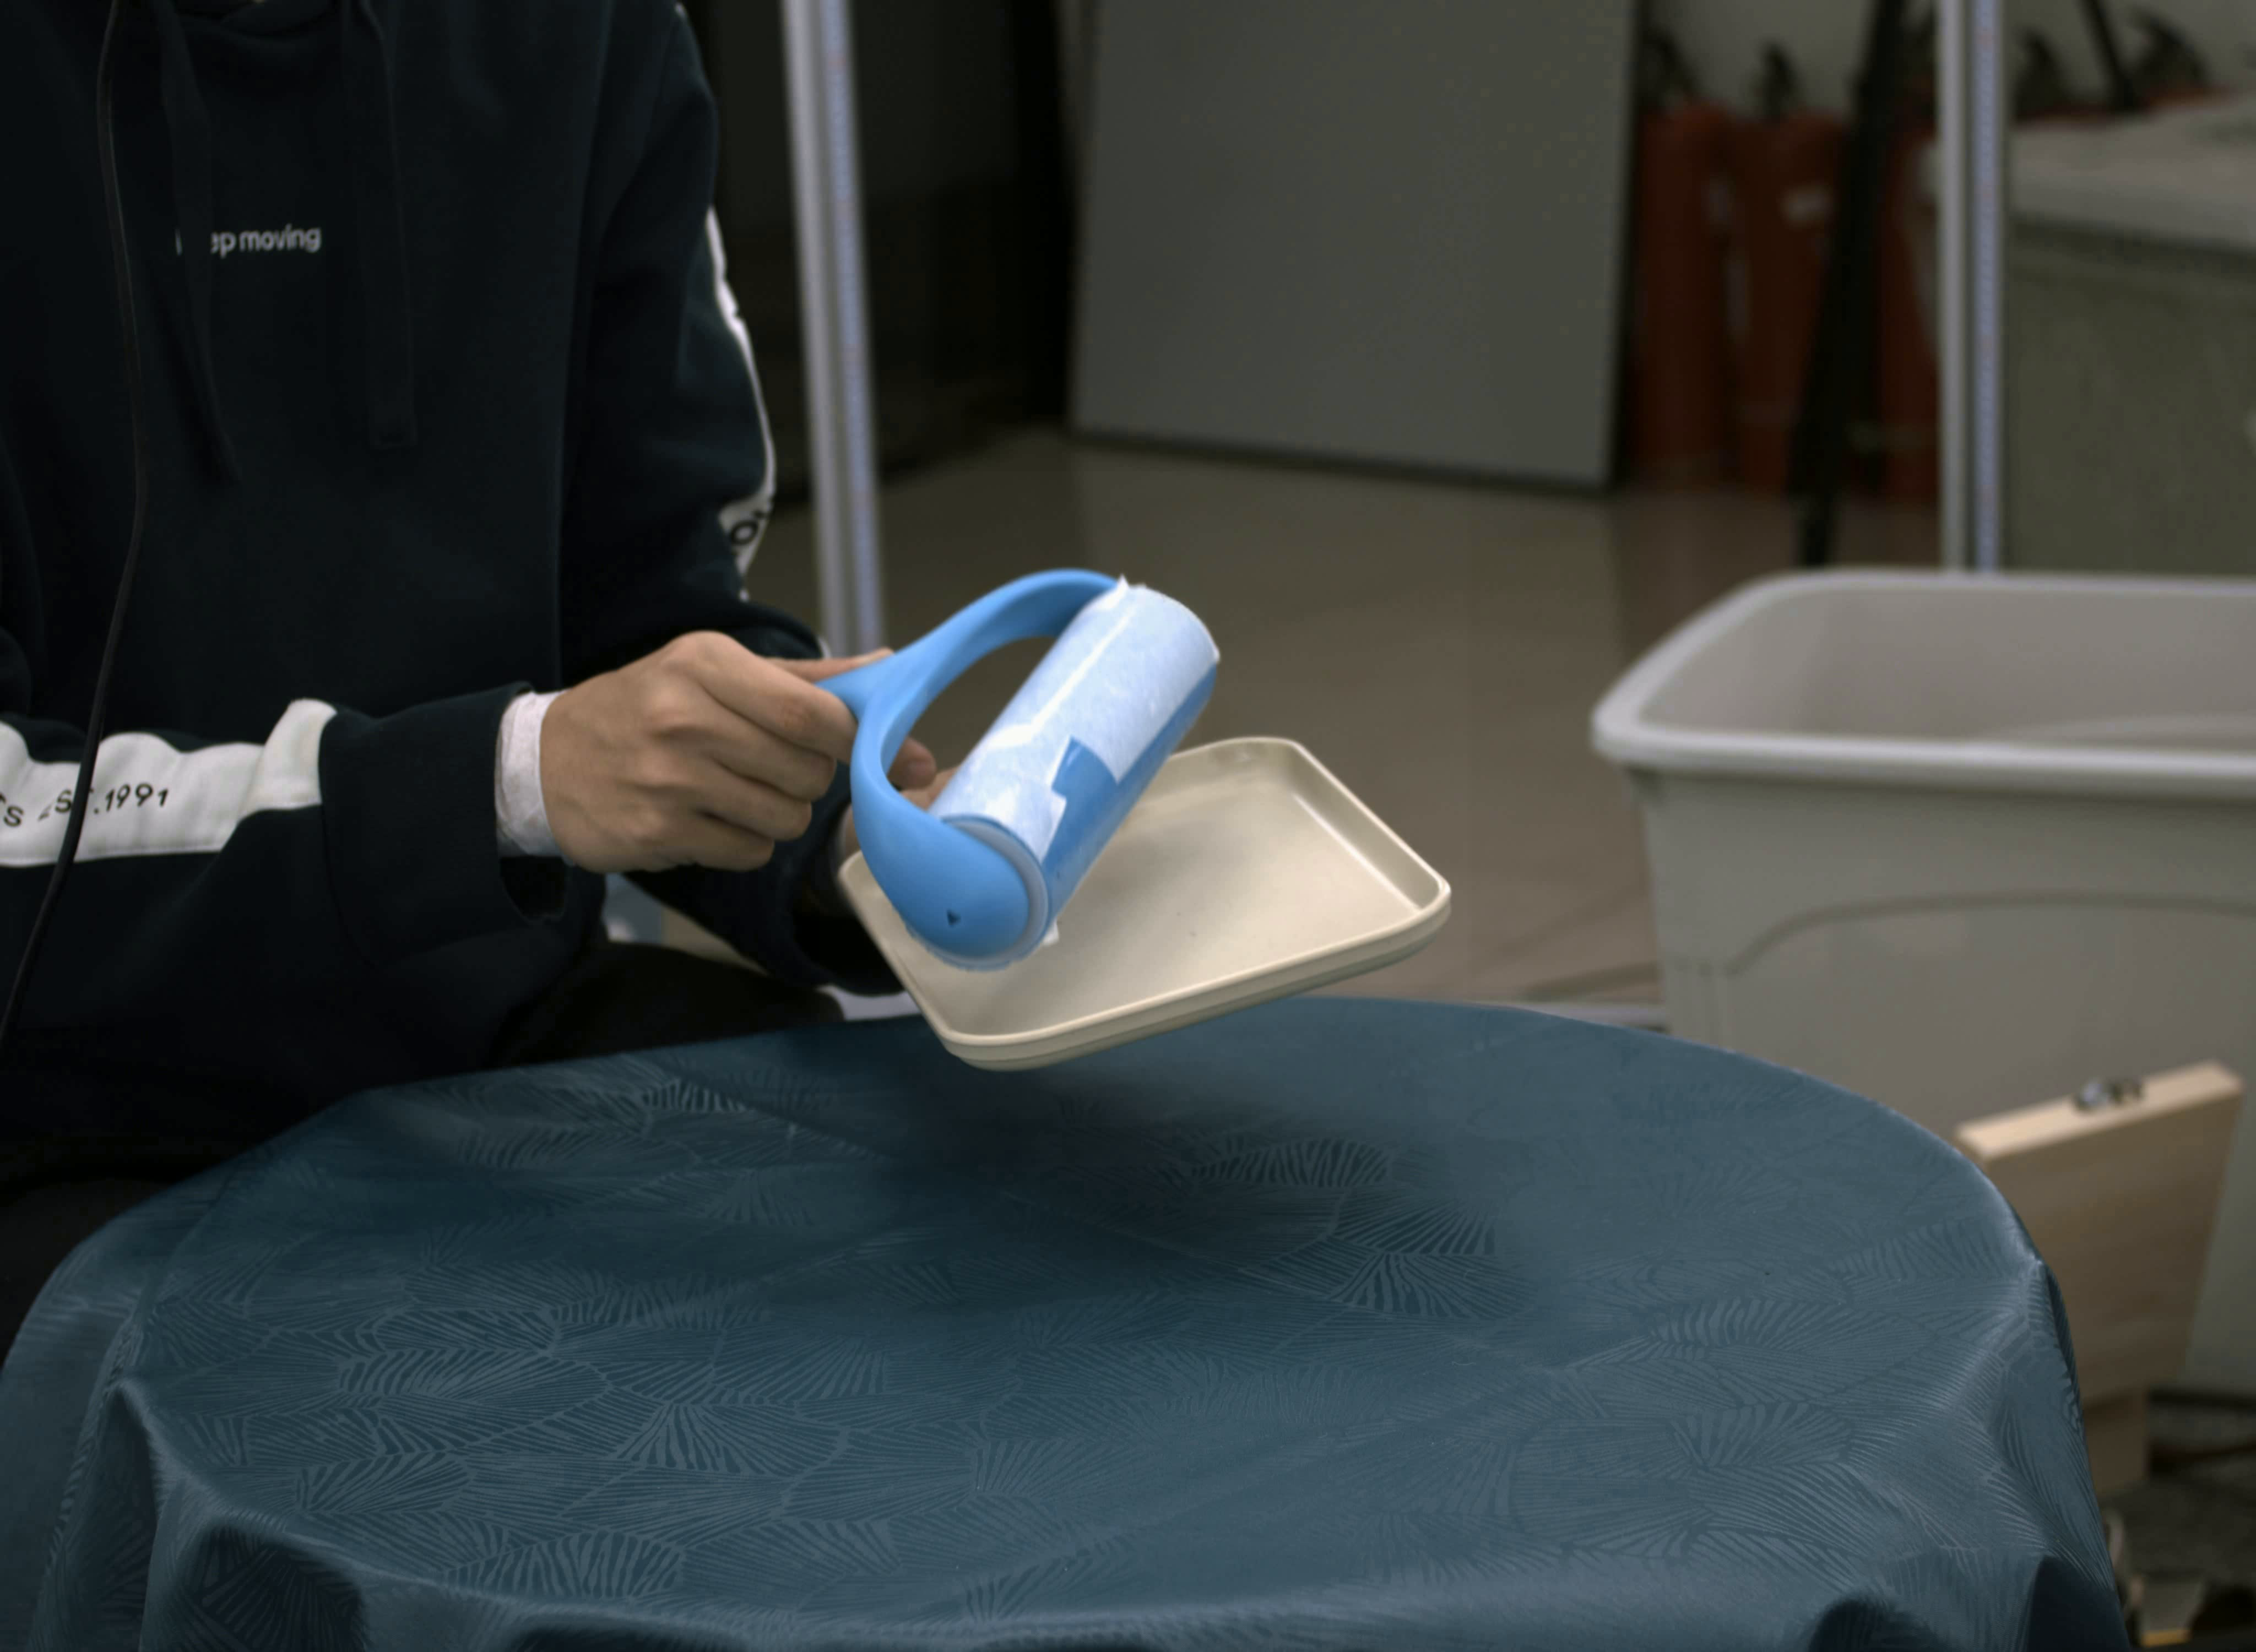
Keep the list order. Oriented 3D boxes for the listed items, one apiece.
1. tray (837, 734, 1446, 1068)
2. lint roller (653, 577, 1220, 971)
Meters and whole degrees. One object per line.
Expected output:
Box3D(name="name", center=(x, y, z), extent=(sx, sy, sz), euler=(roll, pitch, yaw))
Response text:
Box3D(name="tray", center=(0.002, 0.023, 1.770), extent=(0.169, 0.017, 0.241), euler=(-18, 17, -8))
Box3D(name="lint roller", center=(-0.076, -0.018, 1.774), extent=(0.179, 0.068, 0.228), euler=(0, 24, 16))
